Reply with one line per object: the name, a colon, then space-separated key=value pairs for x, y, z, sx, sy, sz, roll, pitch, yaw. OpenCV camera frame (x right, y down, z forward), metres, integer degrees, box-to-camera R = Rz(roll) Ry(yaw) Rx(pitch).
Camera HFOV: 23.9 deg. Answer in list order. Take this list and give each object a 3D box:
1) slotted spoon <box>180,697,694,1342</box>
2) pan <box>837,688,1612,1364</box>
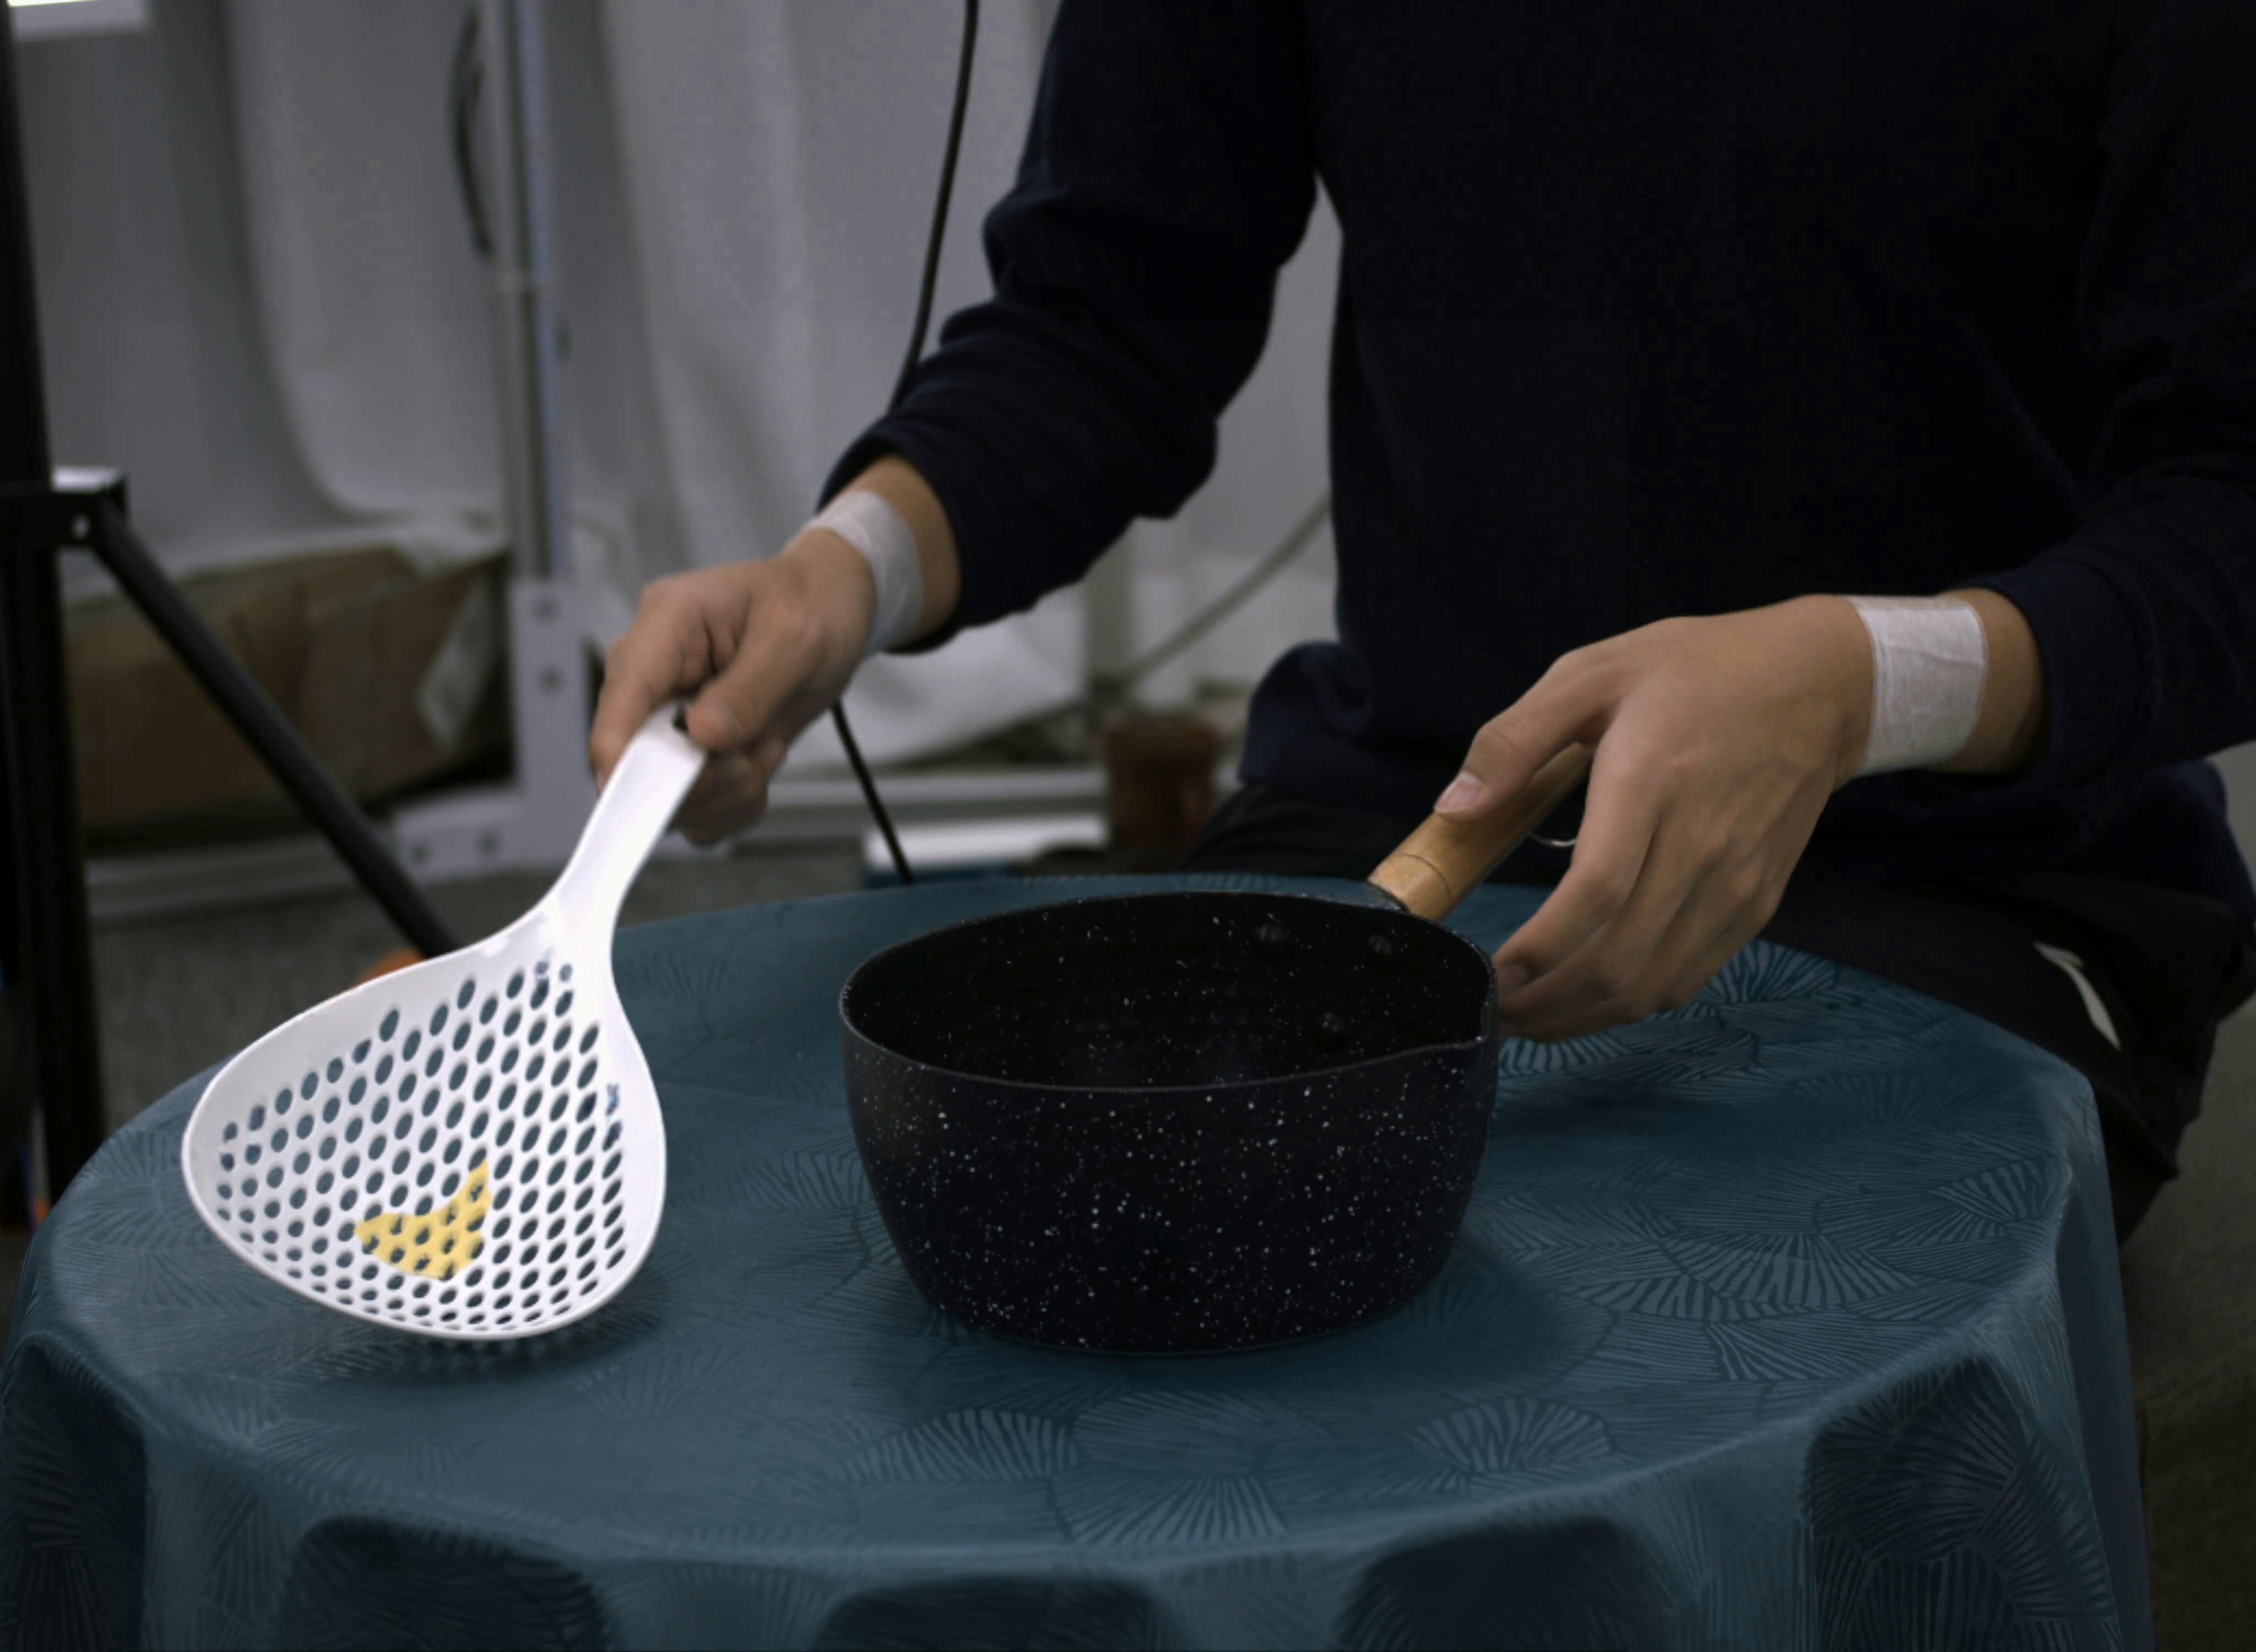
slotted spoon: x=-0.173 y=0.045 z=1.583 sx=0.137 sy=0.050 sz=0.348 roll=17 pitch=38 yaw=4
pan: x=0.053 y=0.053 z=1.546 sx=0.211 sy=0.108 sz=0.336 roll=6 pitch=19 yaw=32
